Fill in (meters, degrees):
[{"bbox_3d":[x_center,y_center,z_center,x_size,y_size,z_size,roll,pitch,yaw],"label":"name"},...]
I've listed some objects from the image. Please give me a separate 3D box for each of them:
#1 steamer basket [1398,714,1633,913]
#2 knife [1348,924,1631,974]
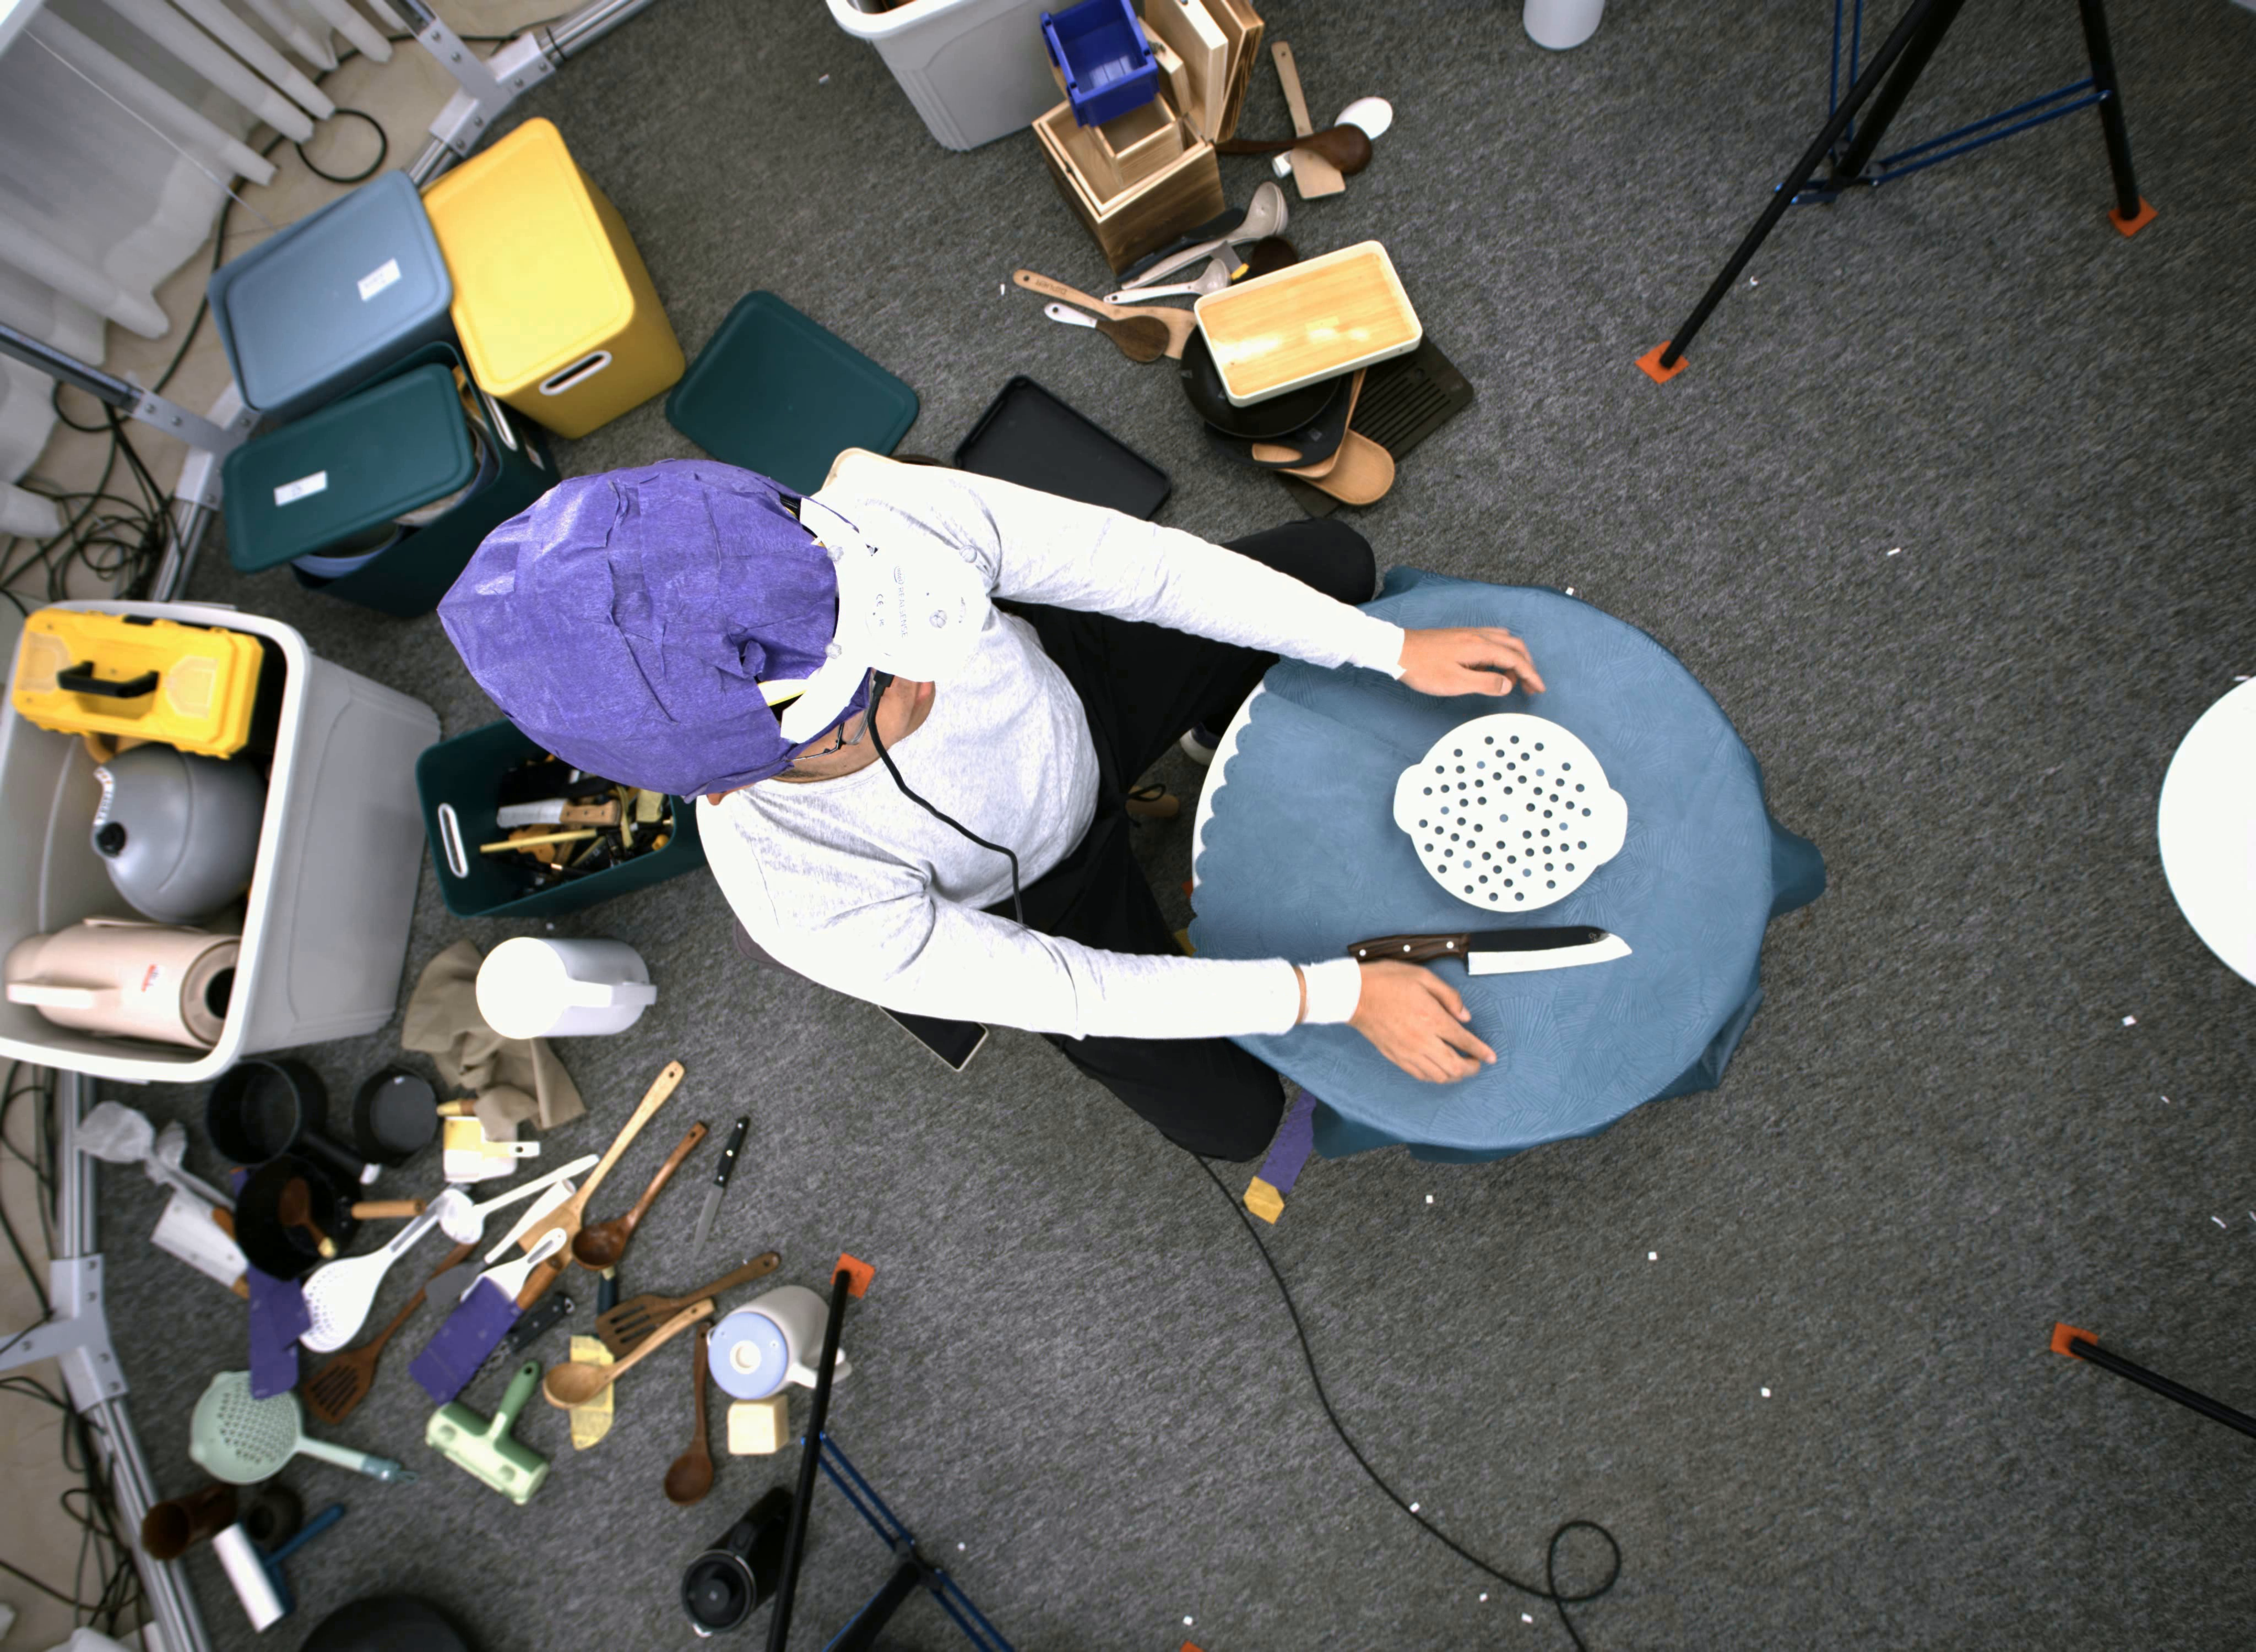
[{"bbox_3d":[0.393,-0.013,1.408,0.231,0.069,0.201,8,87,12],"label":"steamer basket"},{"bbox_3d":[0.374,0.127,1.430,0.290,0.020,0.050,-2,91,8],"label":"knife"}]
